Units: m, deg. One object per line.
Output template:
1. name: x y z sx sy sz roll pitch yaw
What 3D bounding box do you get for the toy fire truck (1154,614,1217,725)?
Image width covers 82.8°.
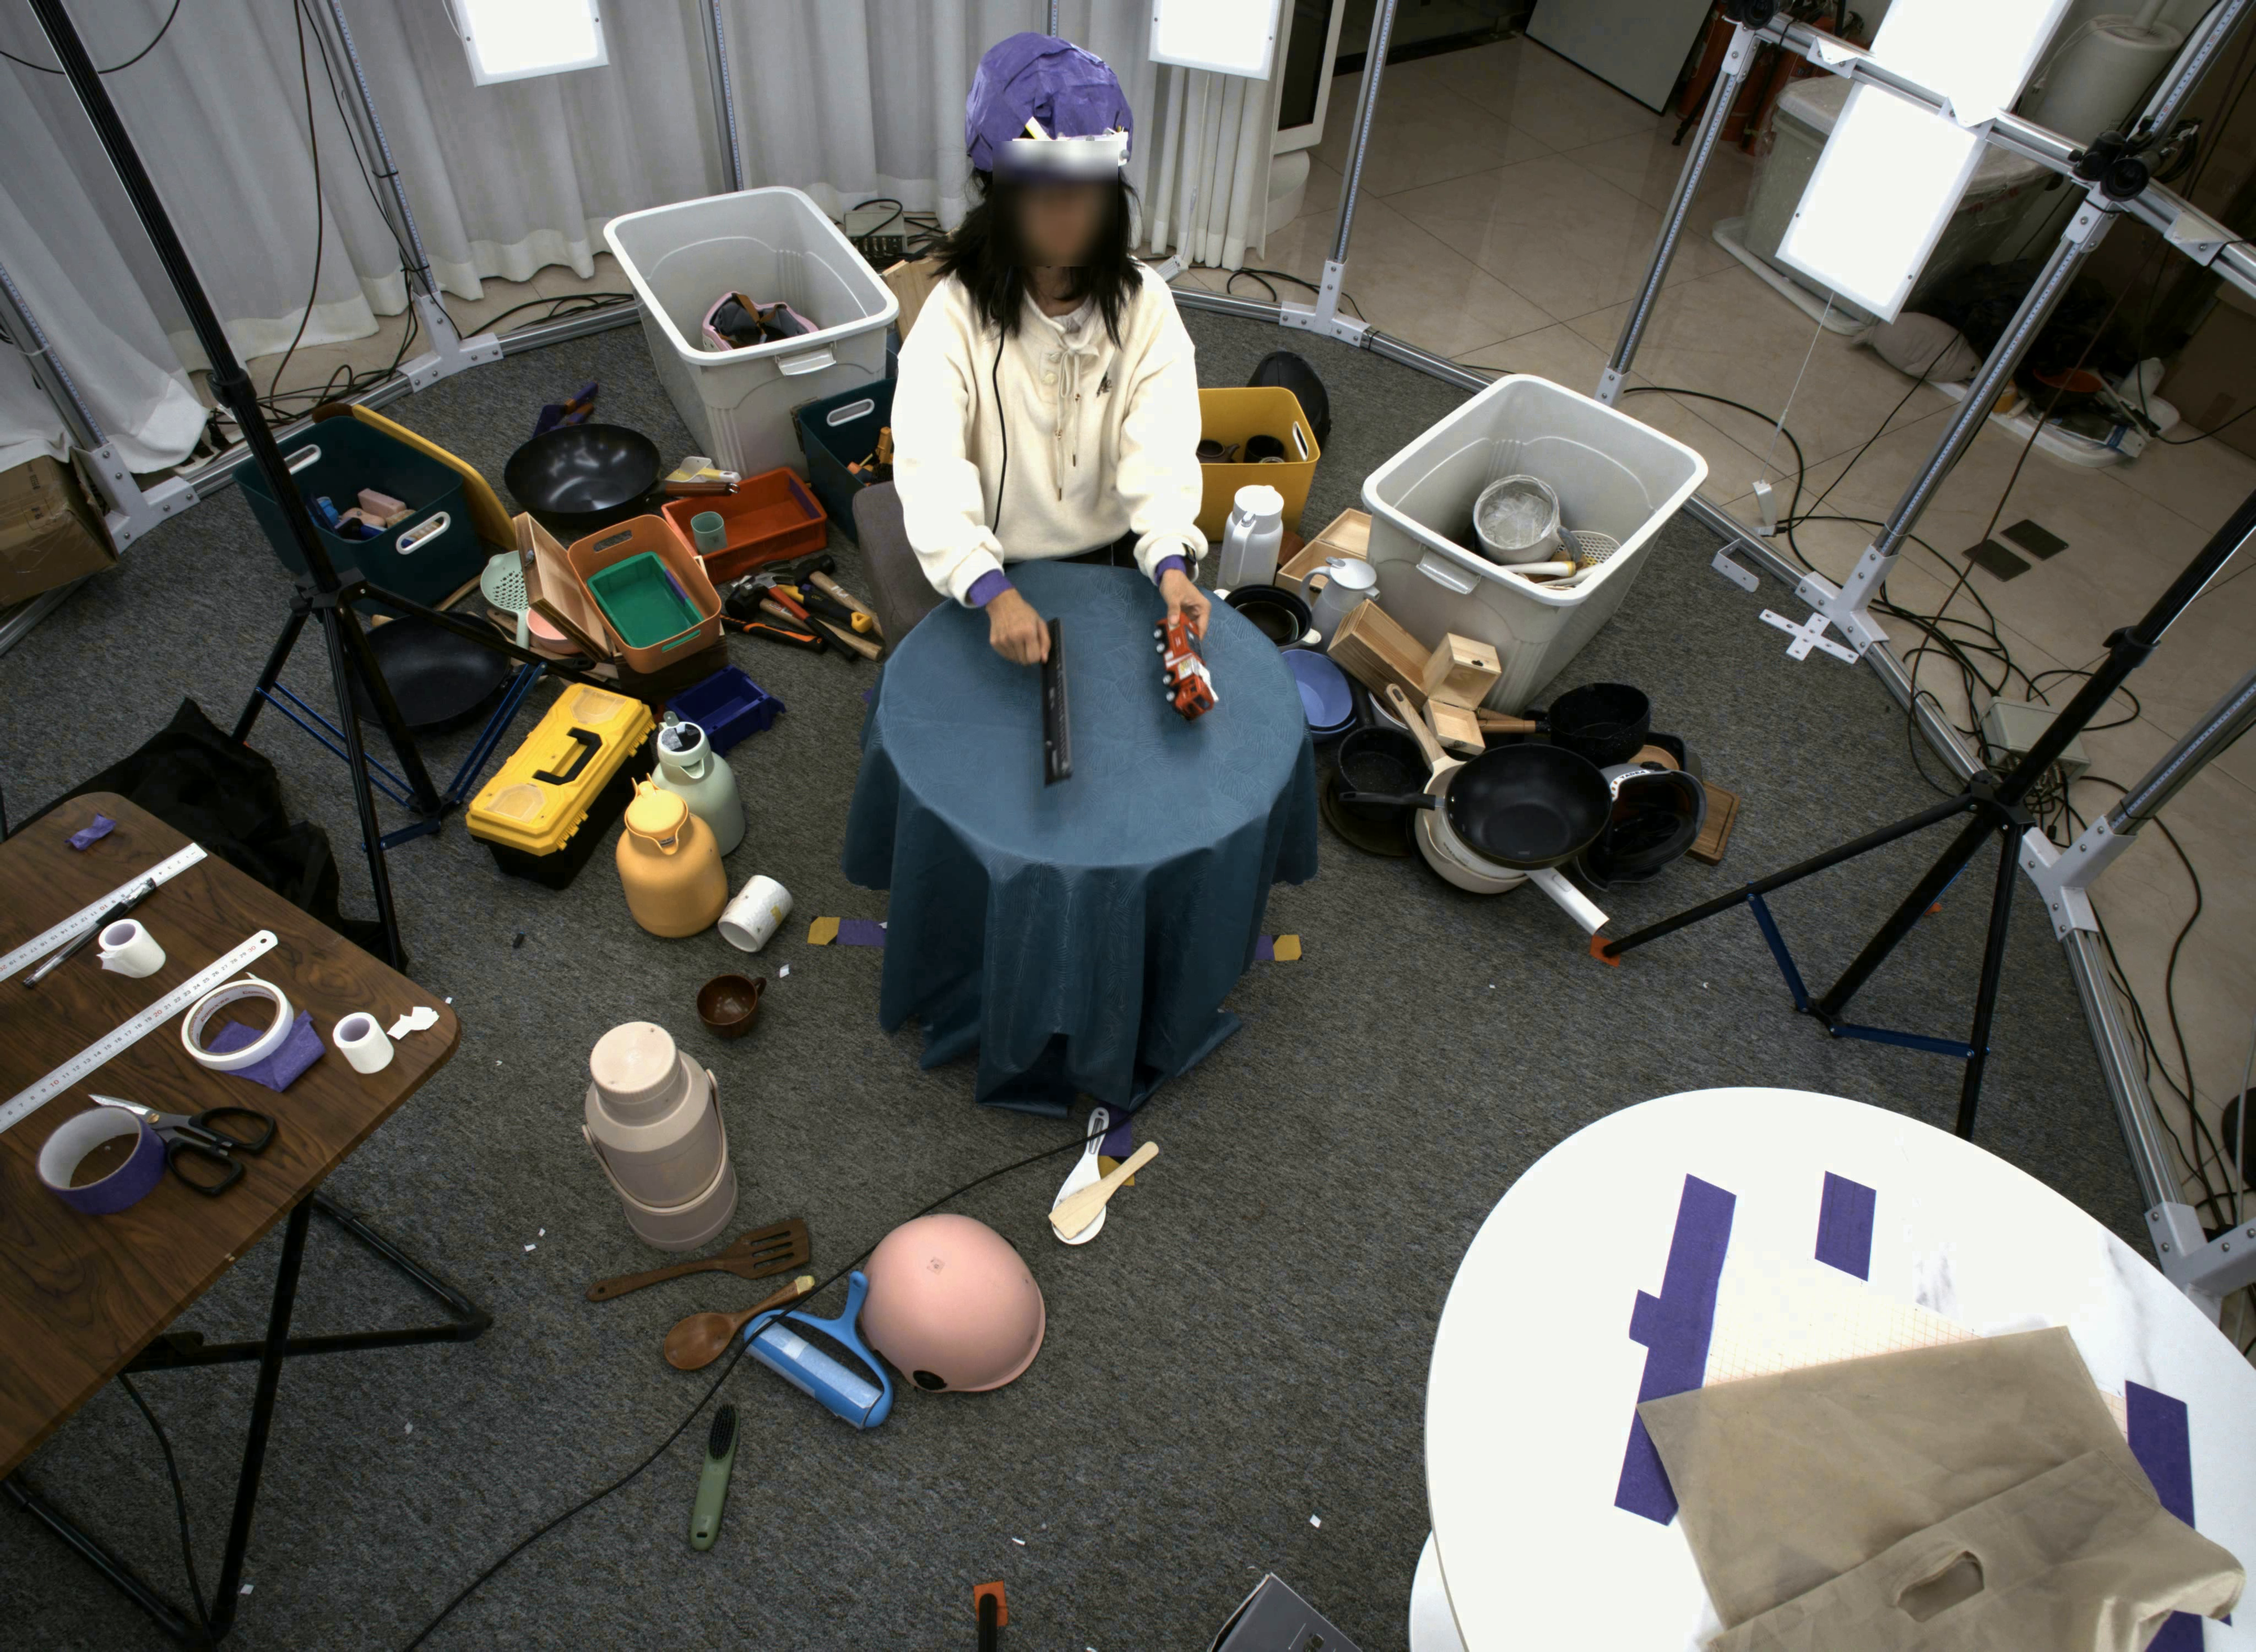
1. toy fire truck: 0.081 -0.220 1.801 0.070 0.053 0.172 -31 48 26

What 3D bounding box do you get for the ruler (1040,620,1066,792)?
1. ruler: -0.104 -0.173 1.742 0.039 0.017 0.320 -16 48 15
